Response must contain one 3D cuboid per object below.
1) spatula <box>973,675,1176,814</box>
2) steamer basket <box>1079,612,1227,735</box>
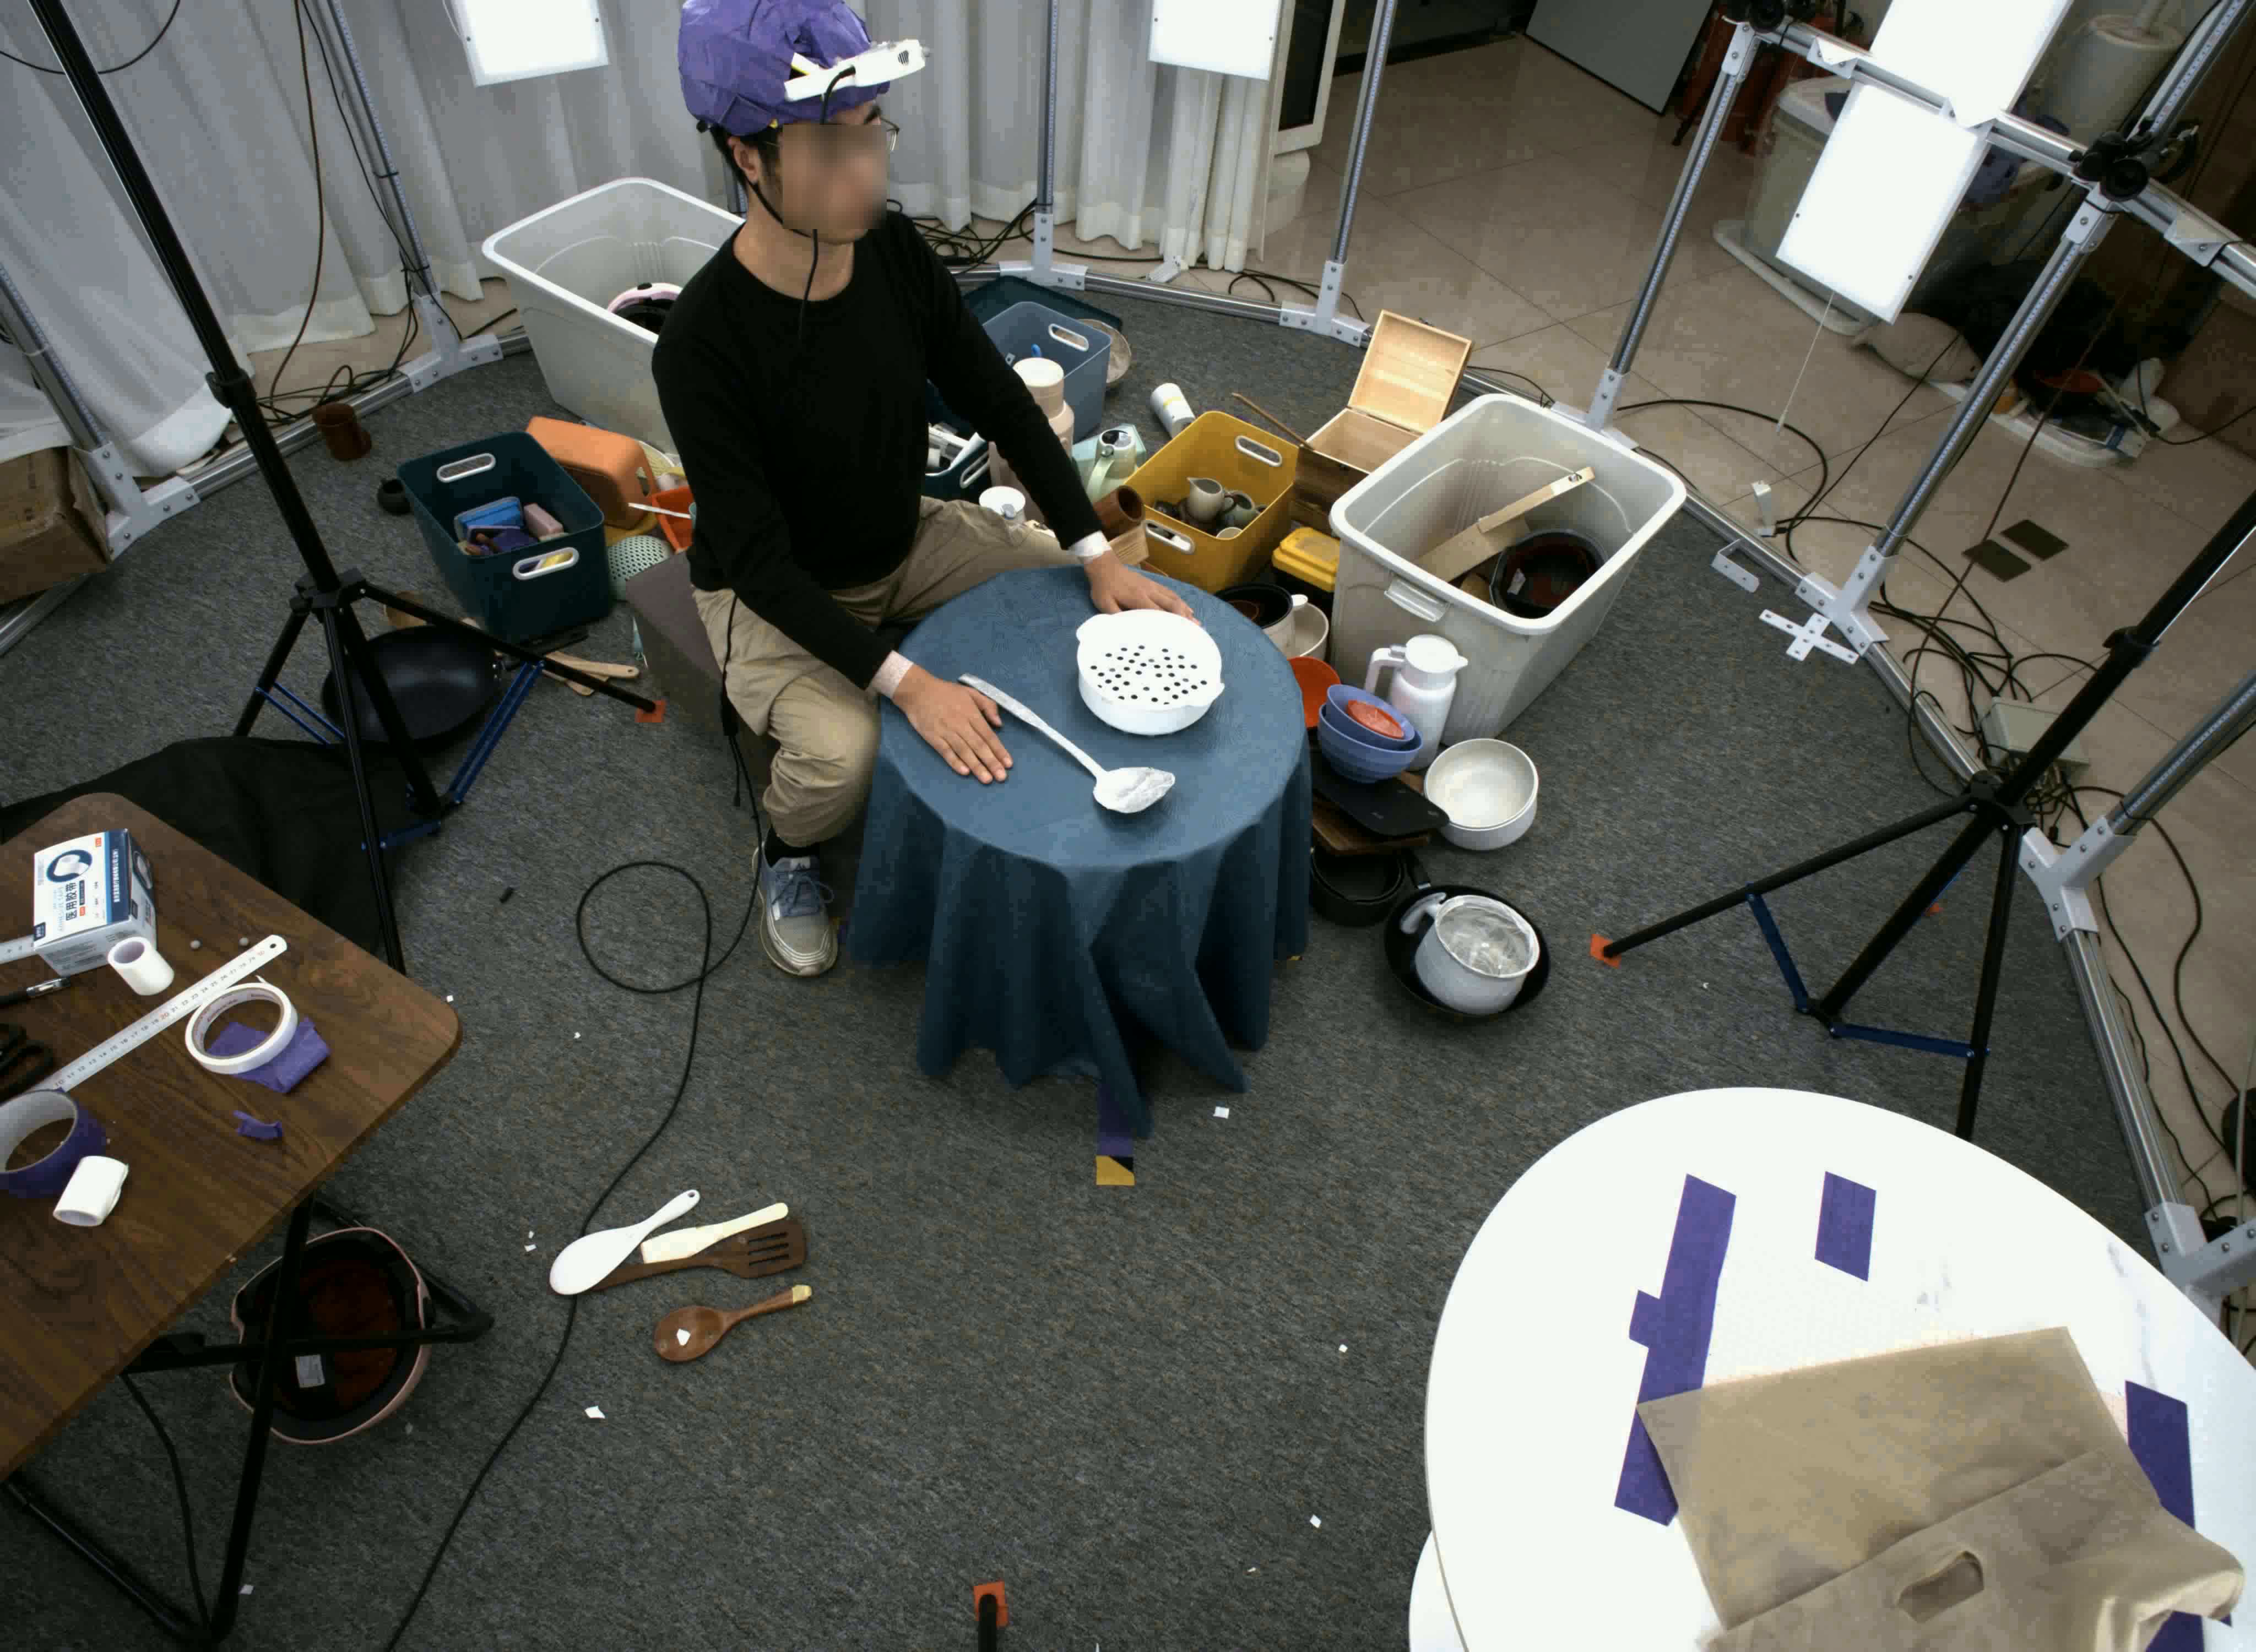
[{"bbox_3d":[-0.092,-0.124,1.747,0.370,0.044,0.099,37,59,25],"label":"spatula"},{"bbox_3d":[0.032,-0.214,1.813,0.233,0.067,0.204,32,53,23],"label":"steamer basket"}]
